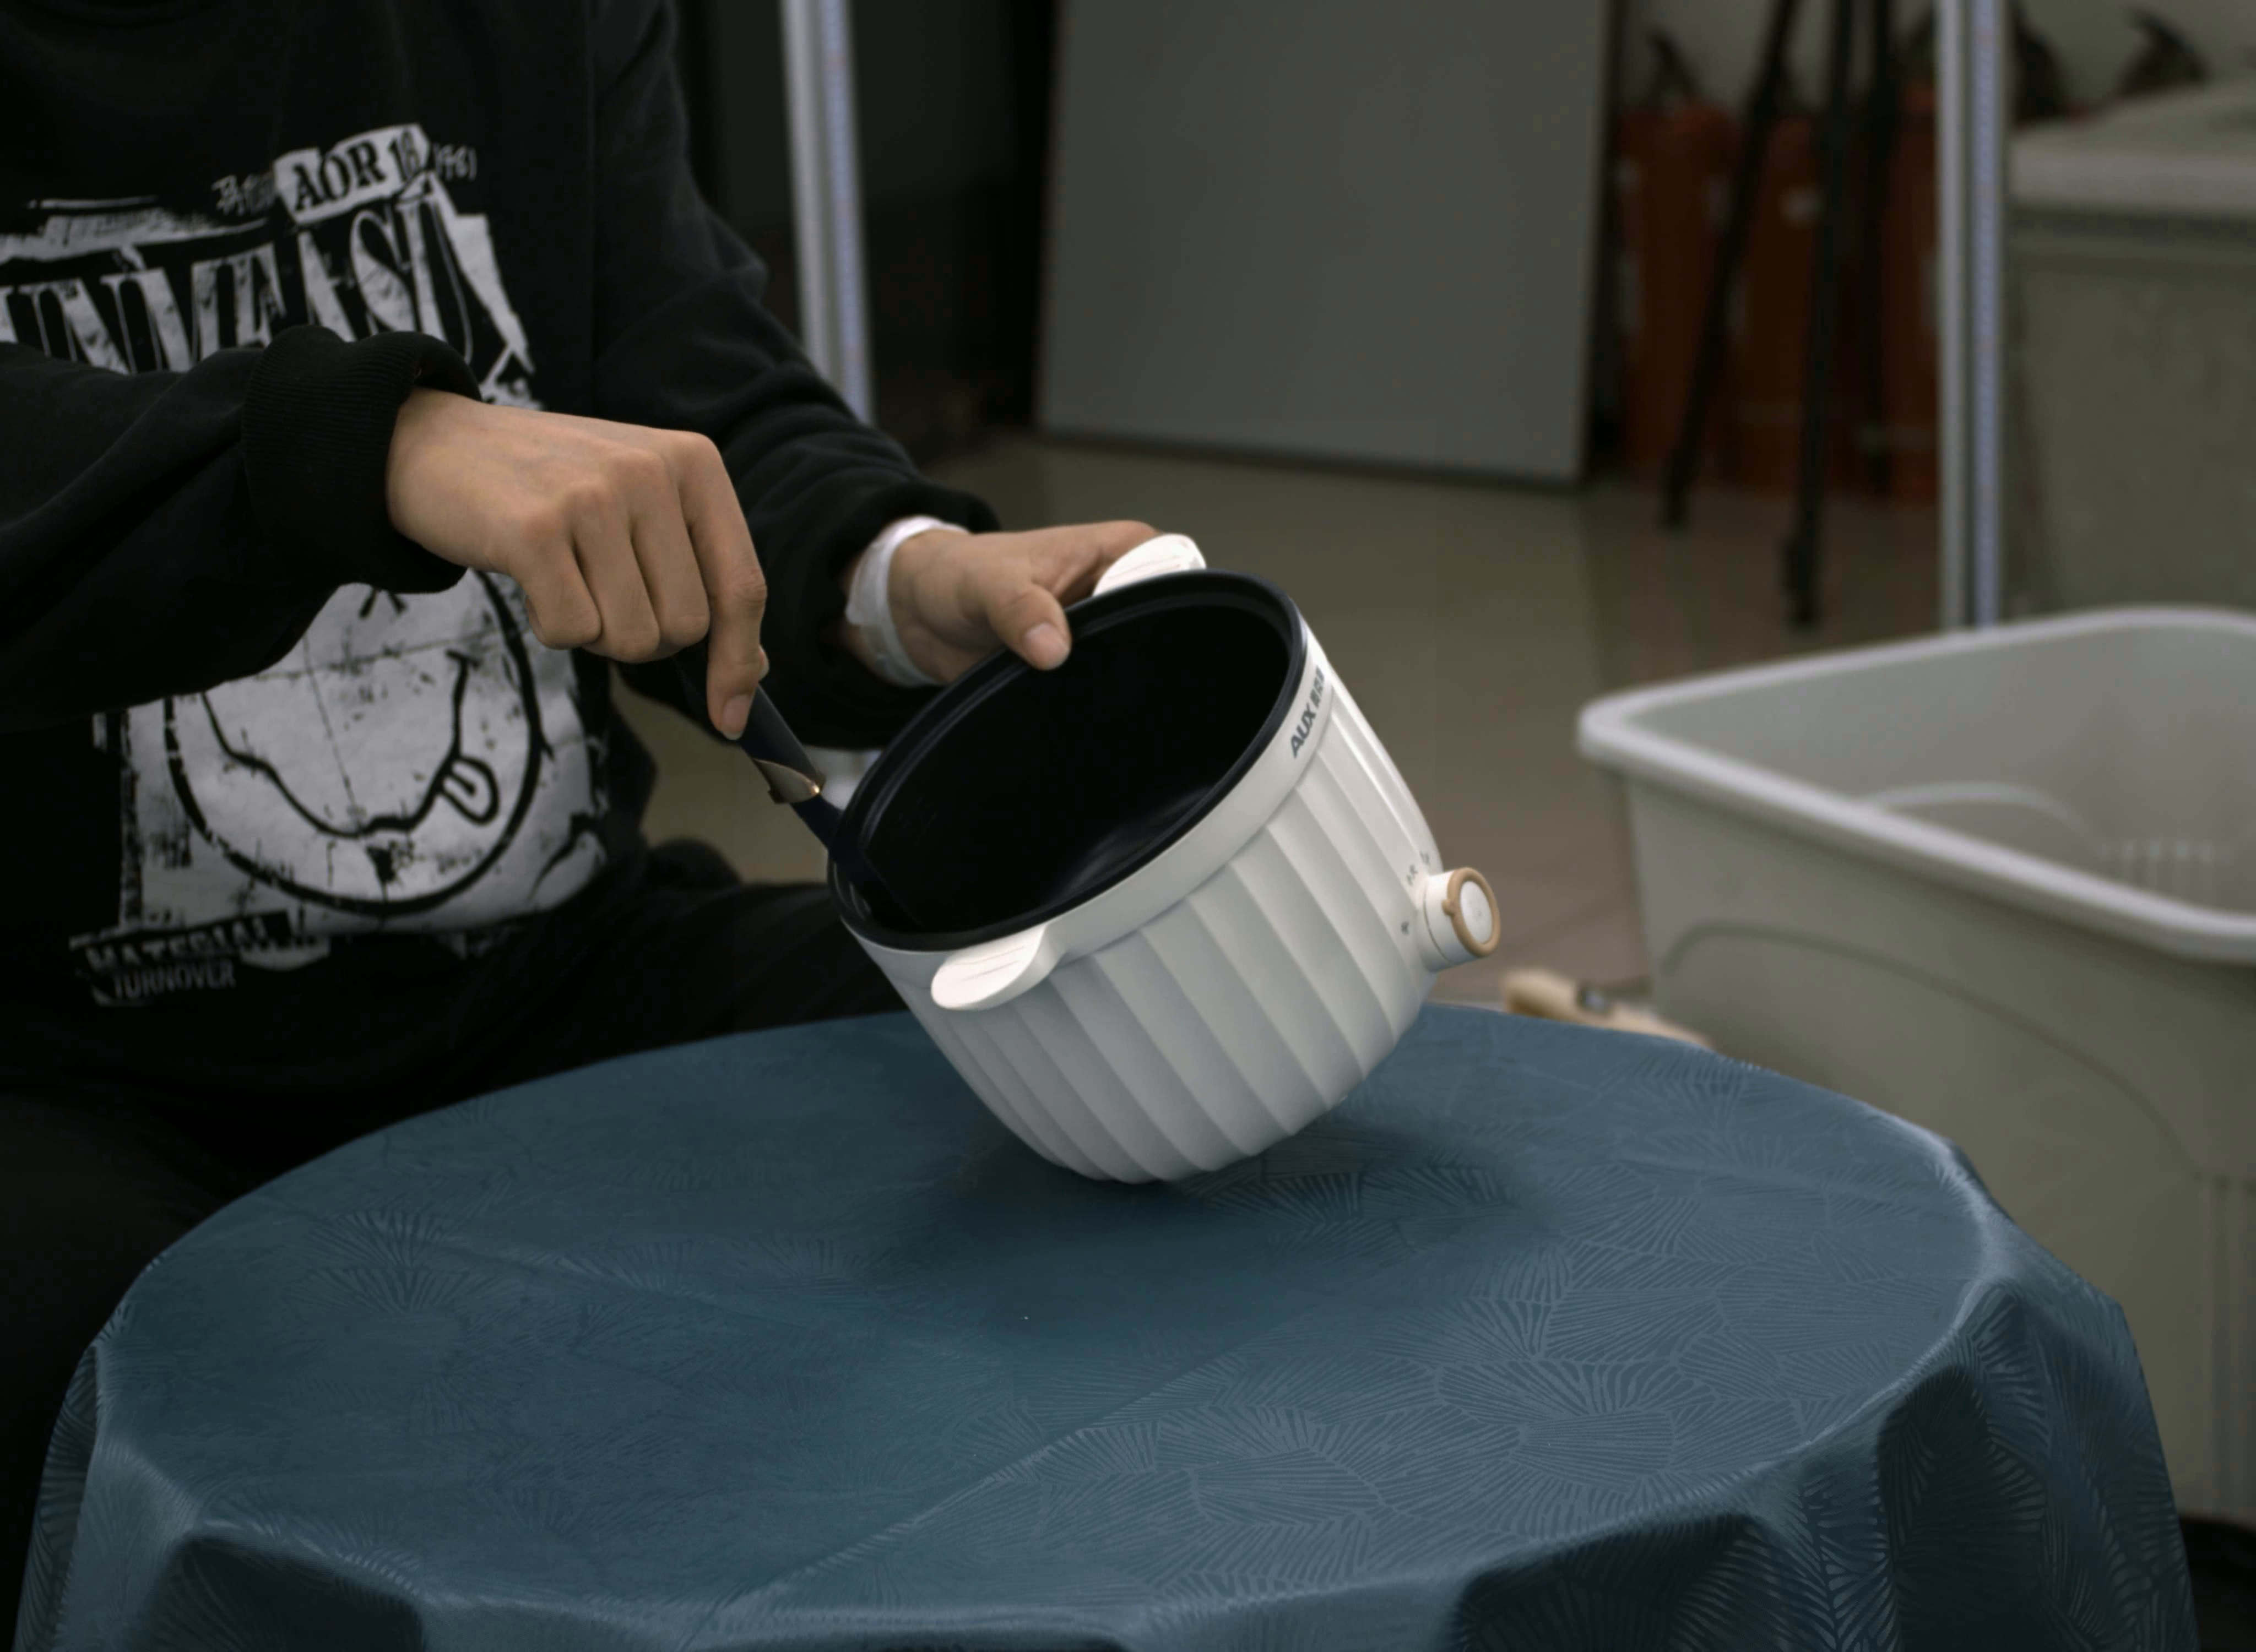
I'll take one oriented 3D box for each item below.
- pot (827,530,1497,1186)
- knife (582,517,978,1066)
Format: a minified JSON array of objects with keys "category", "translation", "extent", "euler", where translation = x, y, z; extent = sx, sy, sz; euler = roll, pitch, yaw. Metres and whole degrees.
[{"category":"pot","translation":[0.016,0.020,1.786],"extent":[0.191,0.141,0.240],"euler":[-21,32,32]},{"category":"knife","translation":[-0.105,-0.008,1.741],"extent":[0.026,0.225,0.017],"euler":[-20,23,46]}]
